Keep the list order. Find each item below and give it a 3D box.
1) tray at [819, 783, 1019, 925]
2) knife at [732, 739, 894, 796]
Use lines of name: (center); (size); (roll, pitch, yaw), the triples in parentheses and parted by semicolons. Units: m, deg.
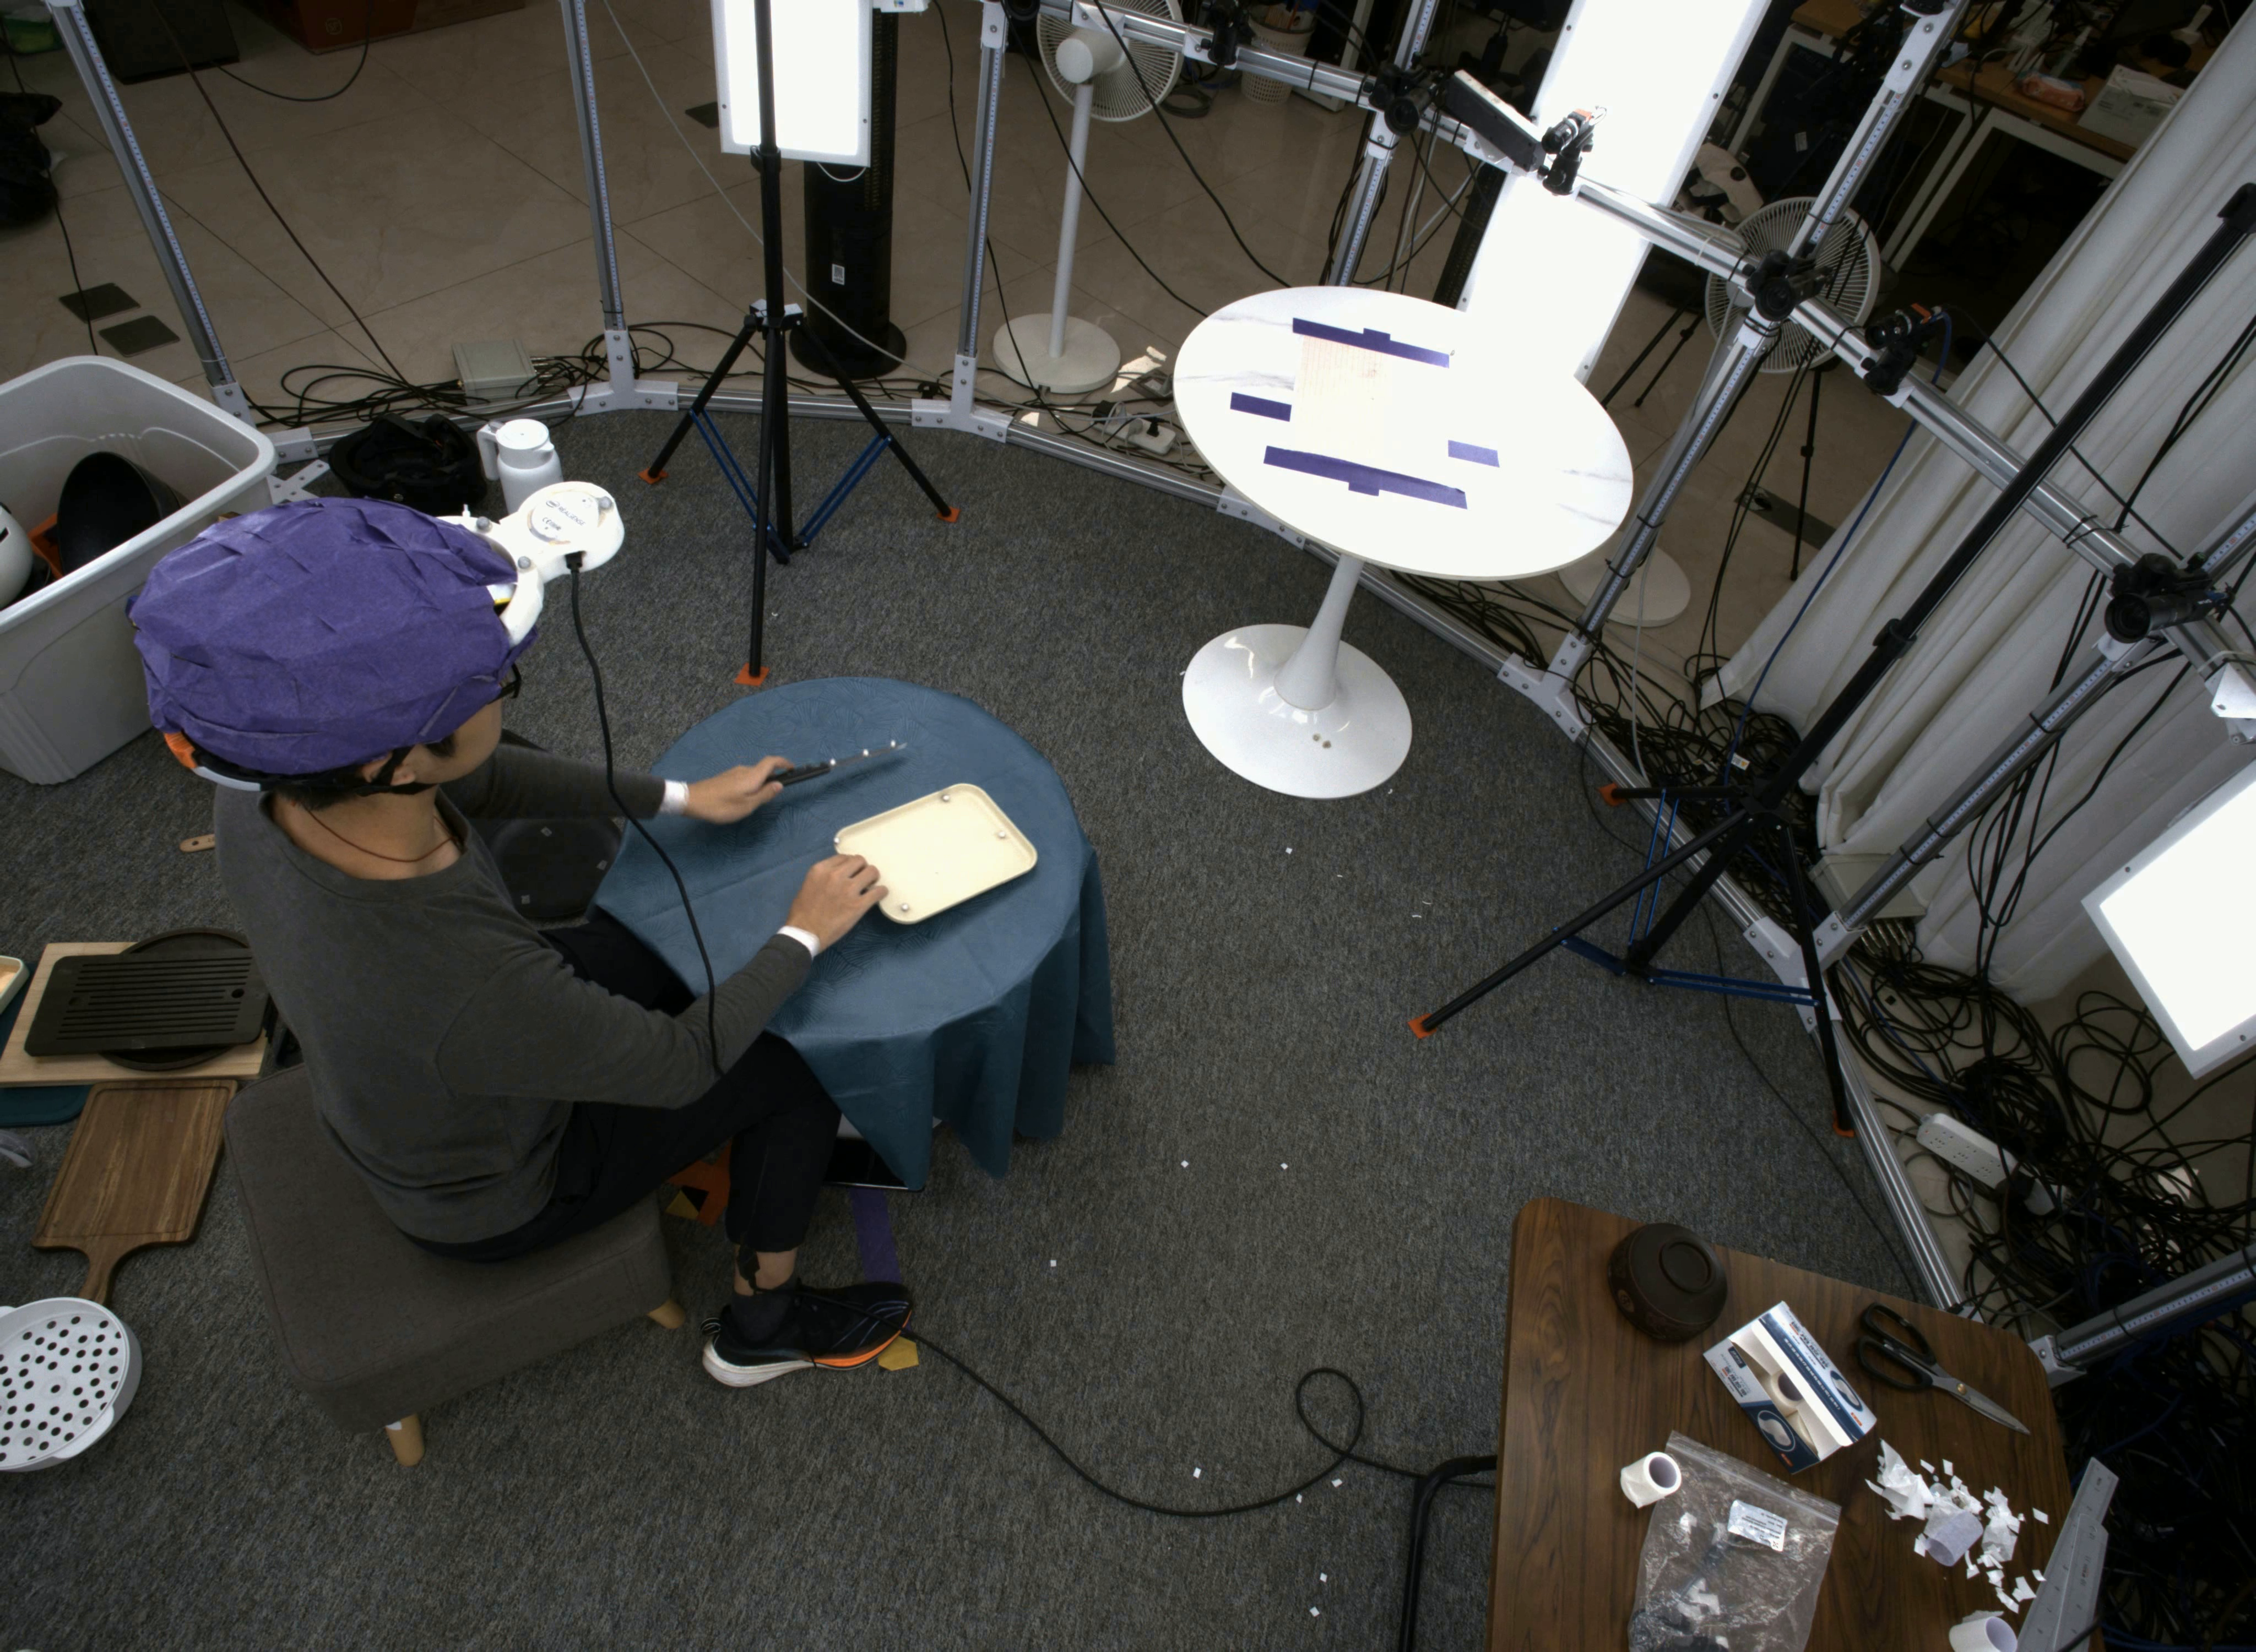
tray: (-0.273, 0.034, 1.716); (0.241, 0.018, 0.167); (-26, 65, -39)
knife: (-0.420, -0.083, 1.751); (0.240, 0.017, 0.023); (-22, 36, -32)
